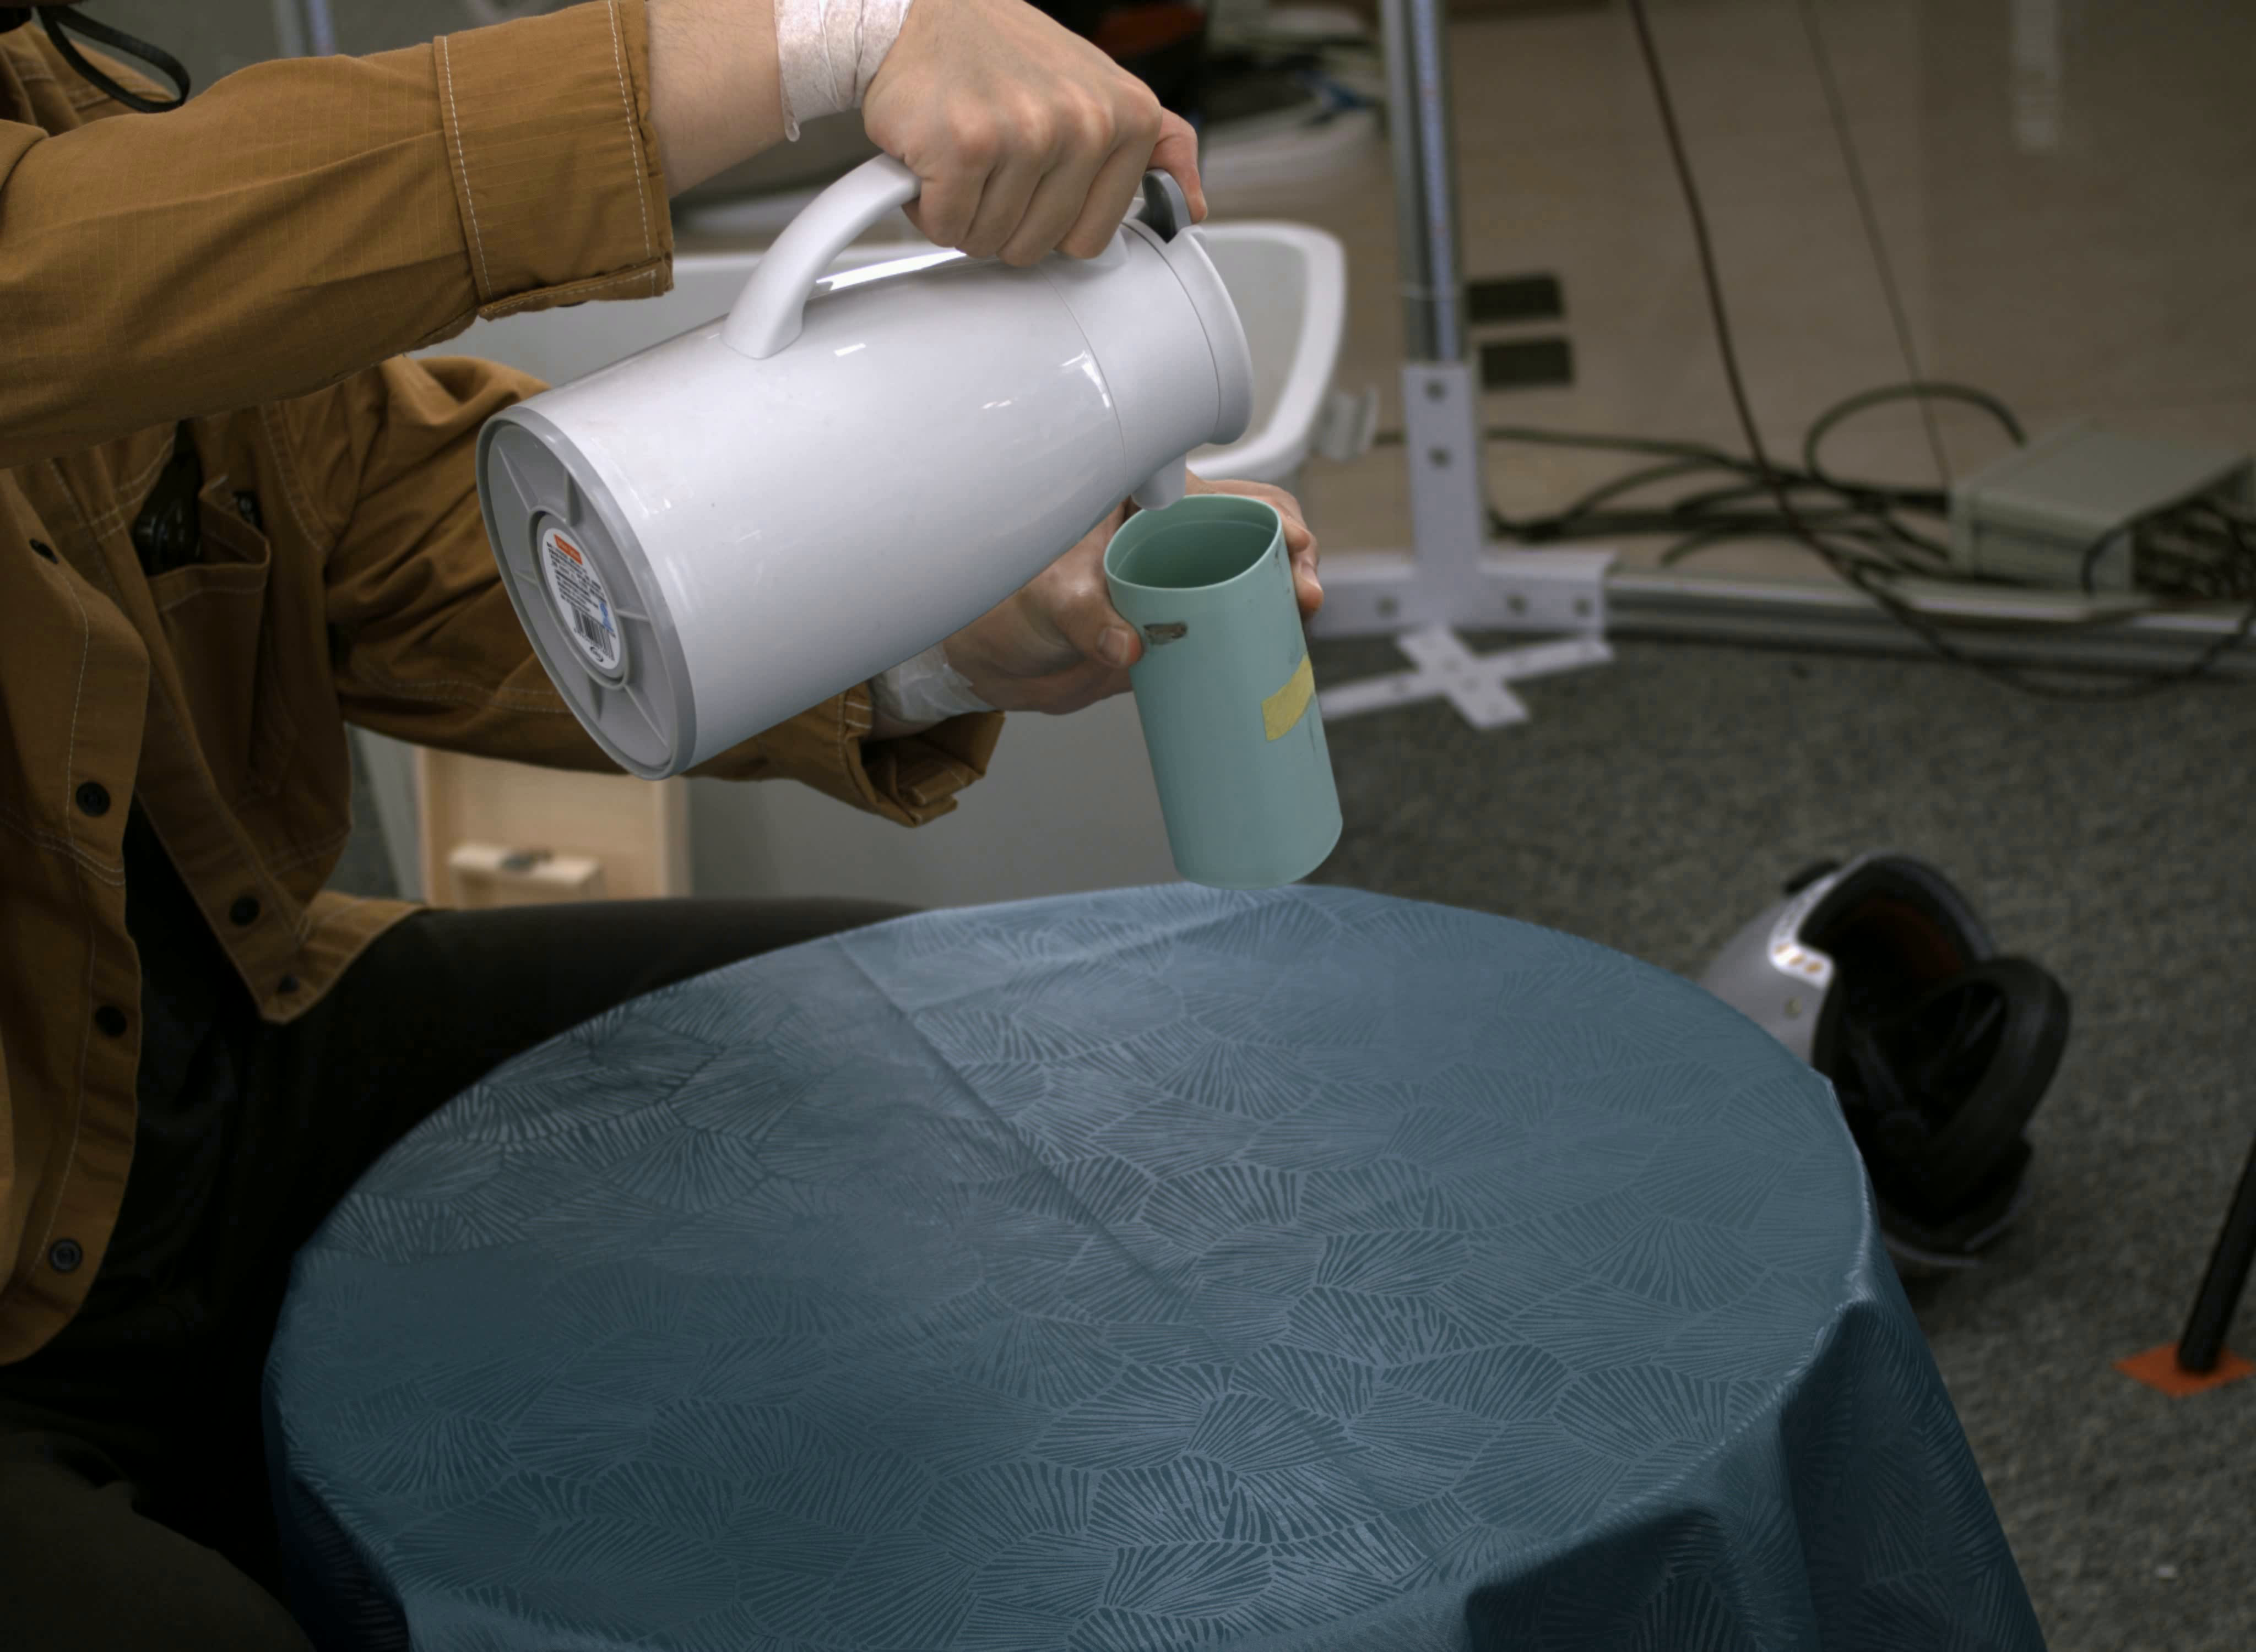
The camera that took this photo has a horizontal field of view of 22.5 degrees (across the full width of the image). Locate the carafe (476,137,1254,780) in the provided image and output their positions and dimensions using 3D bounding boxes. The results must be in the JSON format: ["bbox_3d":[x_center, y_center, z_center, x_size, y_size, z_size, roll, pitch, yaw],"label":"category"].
[{"bbox_3d":[-0.081,-0.139,1.886,0.247,0.171,0.131,-26,41,-21],"label":"carafe"}]

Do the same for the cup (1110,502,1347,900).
[{"bbox_3d":[0.036,-0.045,2.028,0.066,0.135,0.065,-8,35,6],"label":"cup"}]
